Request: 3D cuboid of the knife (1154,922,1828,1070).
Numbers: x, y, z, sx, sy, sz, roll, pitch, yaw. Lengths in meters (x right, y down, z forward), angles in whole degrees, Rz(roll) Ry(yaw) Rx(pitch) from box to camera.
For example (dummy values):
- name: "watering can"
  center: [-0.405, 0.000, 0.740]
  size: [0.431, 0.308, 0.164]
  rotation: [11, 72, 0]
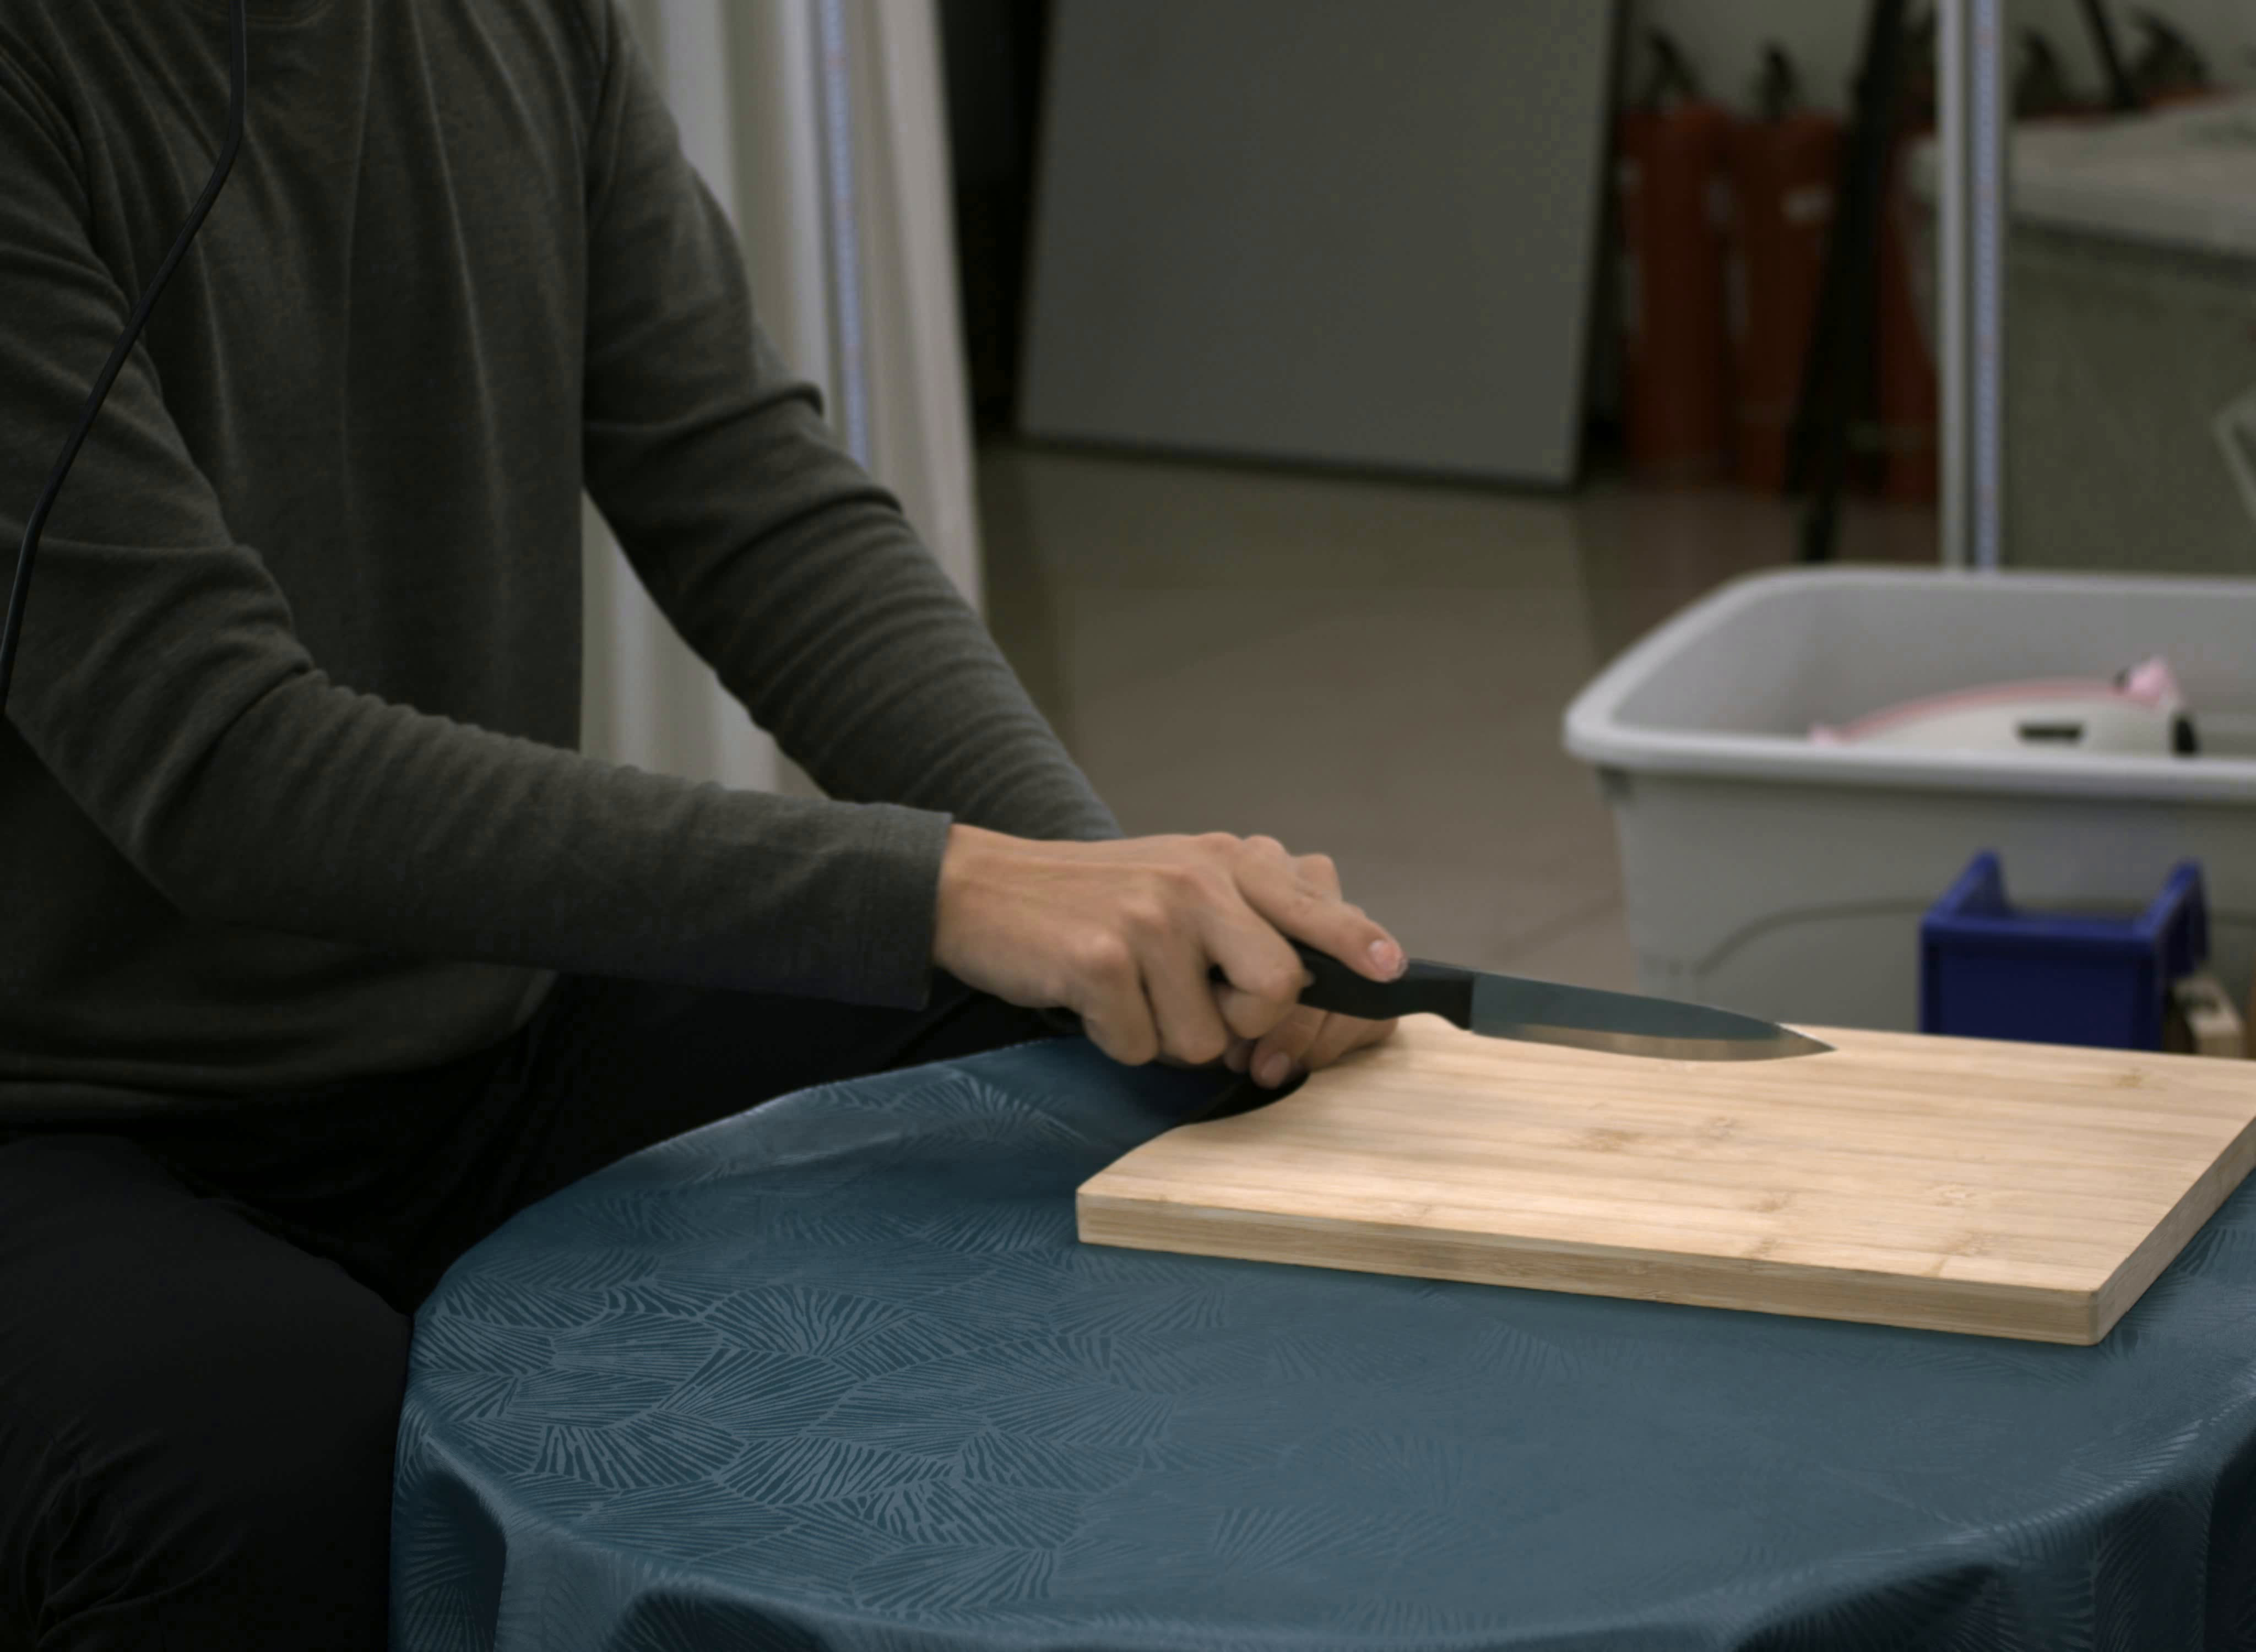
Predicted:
- name: "knife"
  center: [0.115, 0.055, 1.736]
  size: [0.239, 0.025, 0.016]
  rotation: [9, 13, 27]

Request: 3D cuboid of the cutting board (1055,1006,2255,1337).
- name: "cutting board"
  center: [0.180, 0.107, 1.749]
  size: [0.349, 0.024, 0.247]
  rotation: [3, 14, 27]
